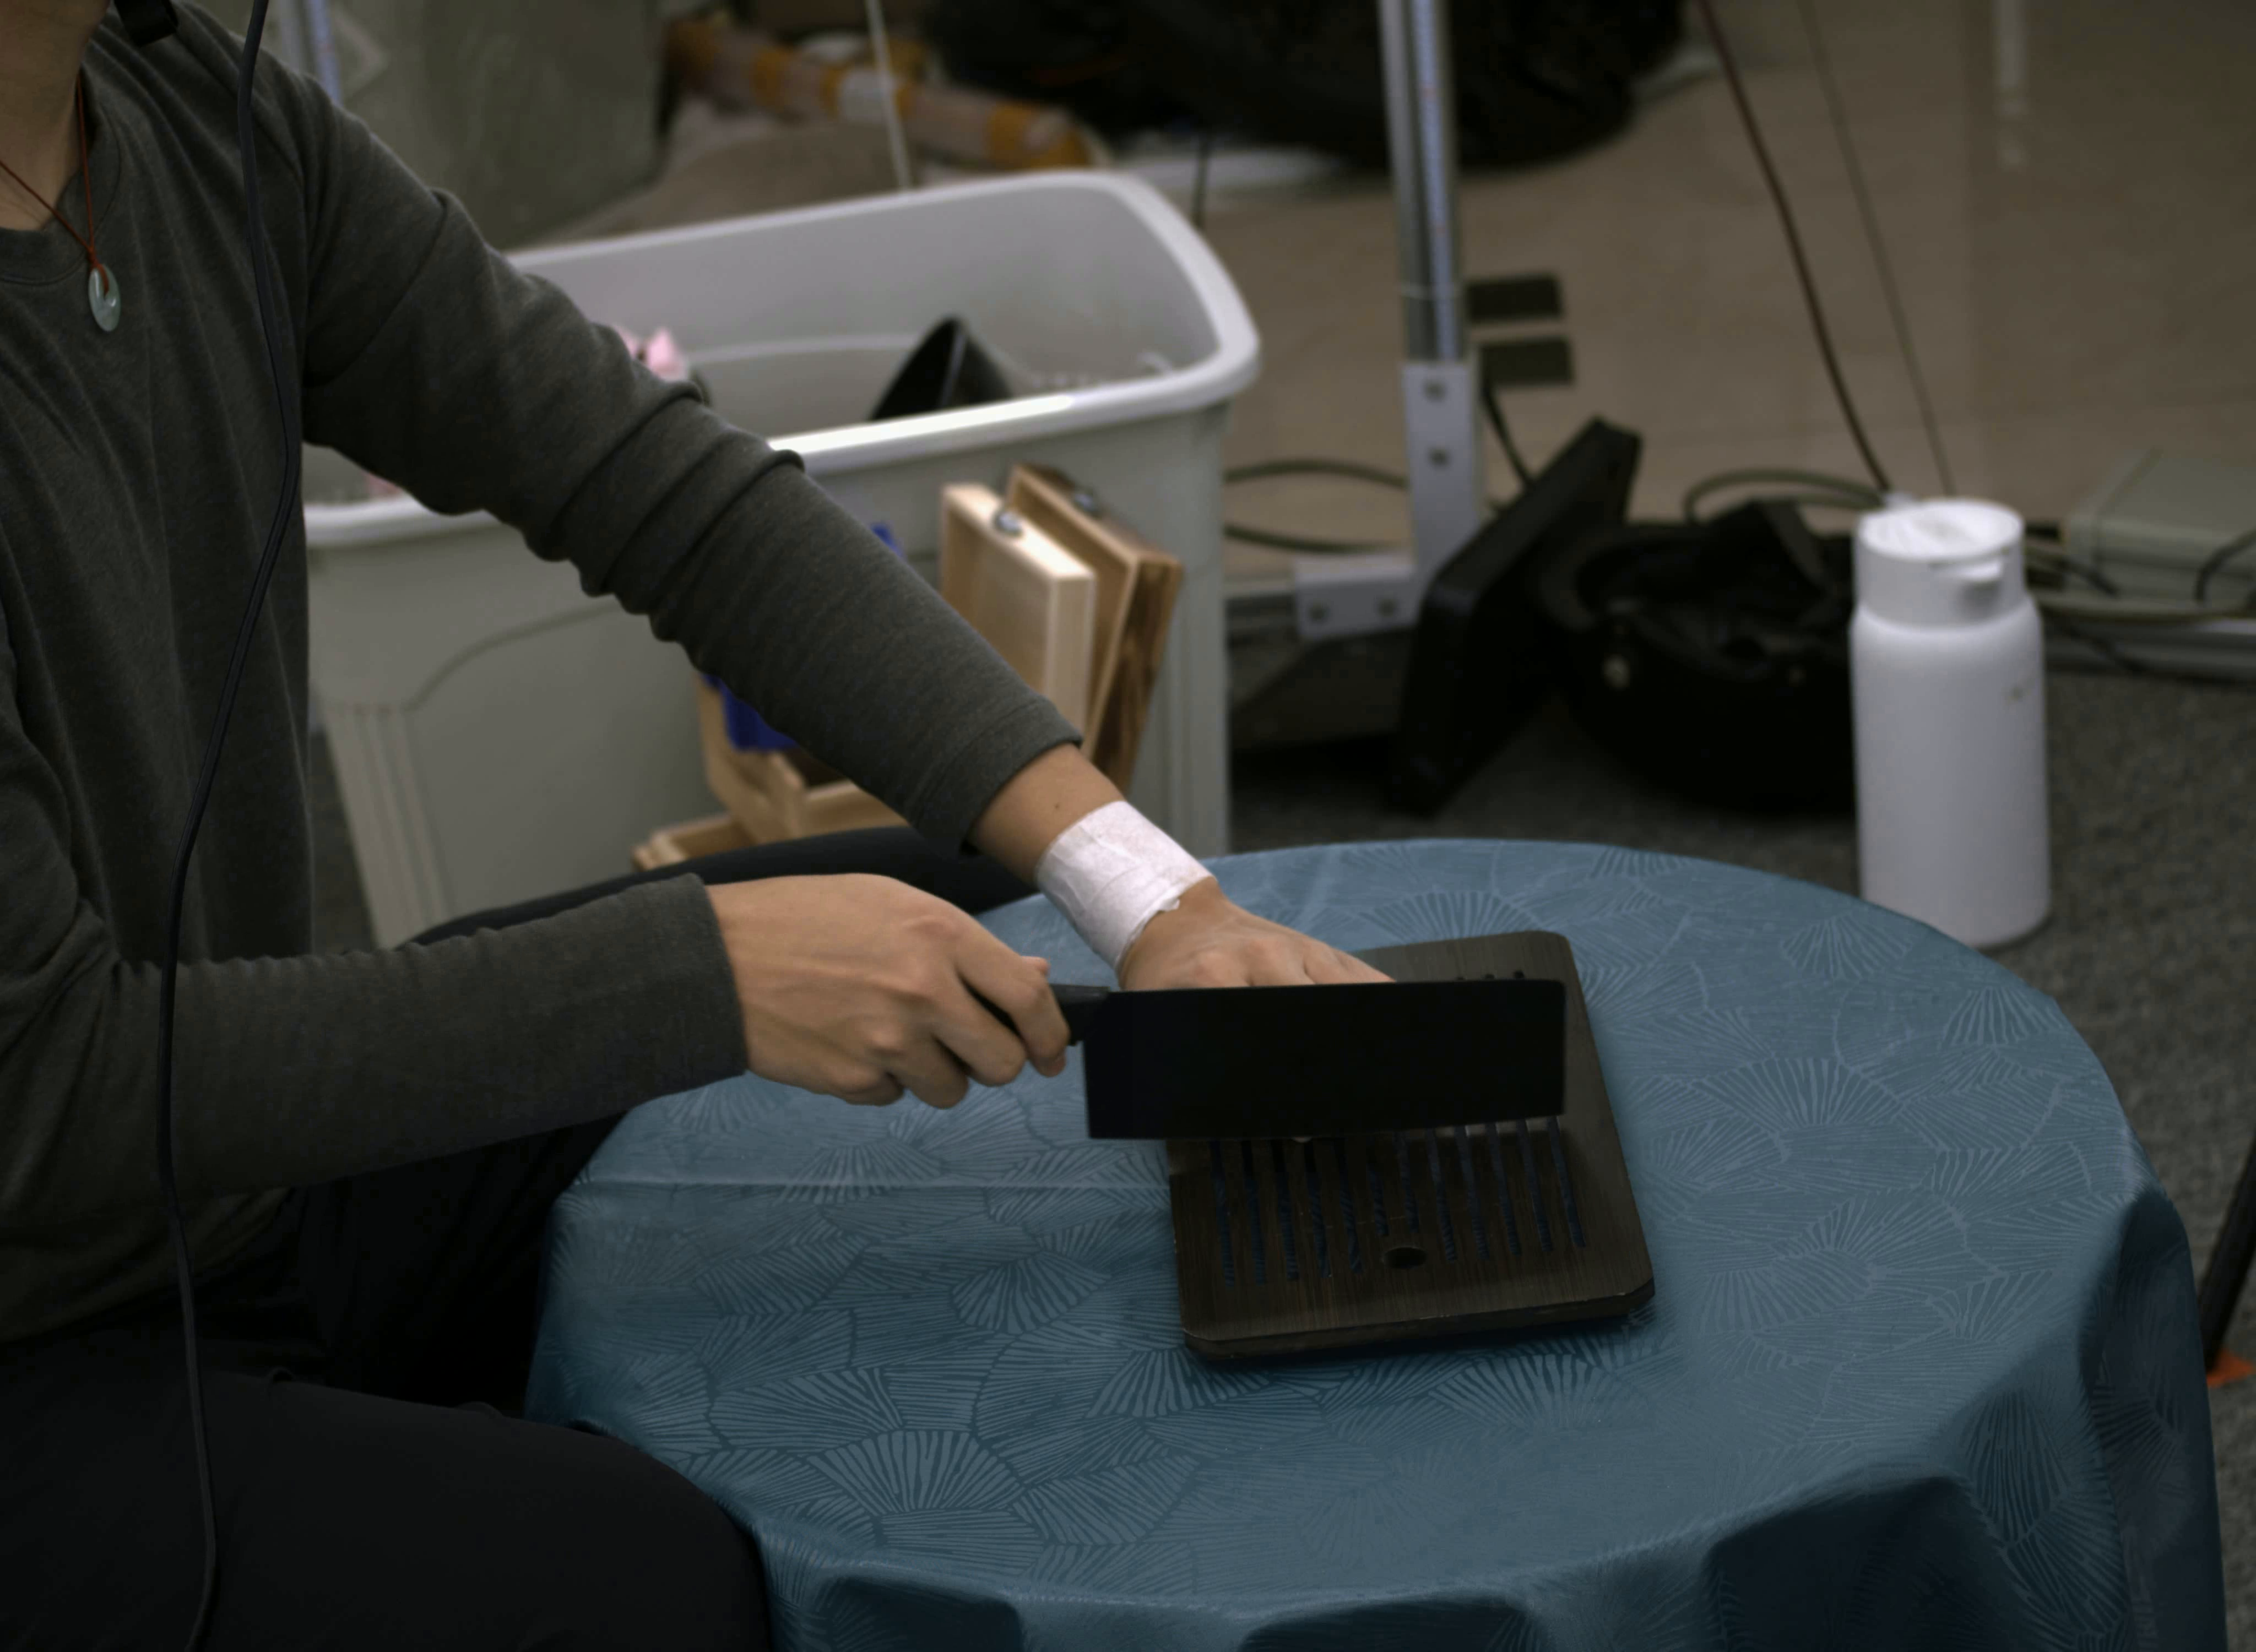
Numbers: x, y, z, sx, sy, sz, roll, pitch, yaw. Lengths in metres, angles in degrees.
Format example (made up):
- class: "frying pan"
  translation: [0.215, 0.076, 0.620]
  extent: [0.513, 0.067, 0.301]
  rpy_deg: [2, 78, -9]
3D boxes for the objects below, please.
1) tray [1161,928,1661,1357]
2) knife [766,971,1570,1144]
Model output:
- class: "tray"
  translation: [0.102, 0.118, 2.149]
  extent: [0.170, 0.019, 0.301]
  rpy_deg: [-7, 24, 1]
- class: "knife"
  translation: [0.015, 0.085, 2.117]
  extent: [0.302, 0.082, 0.020]
  rpy_deg: [2, 30, 0]
